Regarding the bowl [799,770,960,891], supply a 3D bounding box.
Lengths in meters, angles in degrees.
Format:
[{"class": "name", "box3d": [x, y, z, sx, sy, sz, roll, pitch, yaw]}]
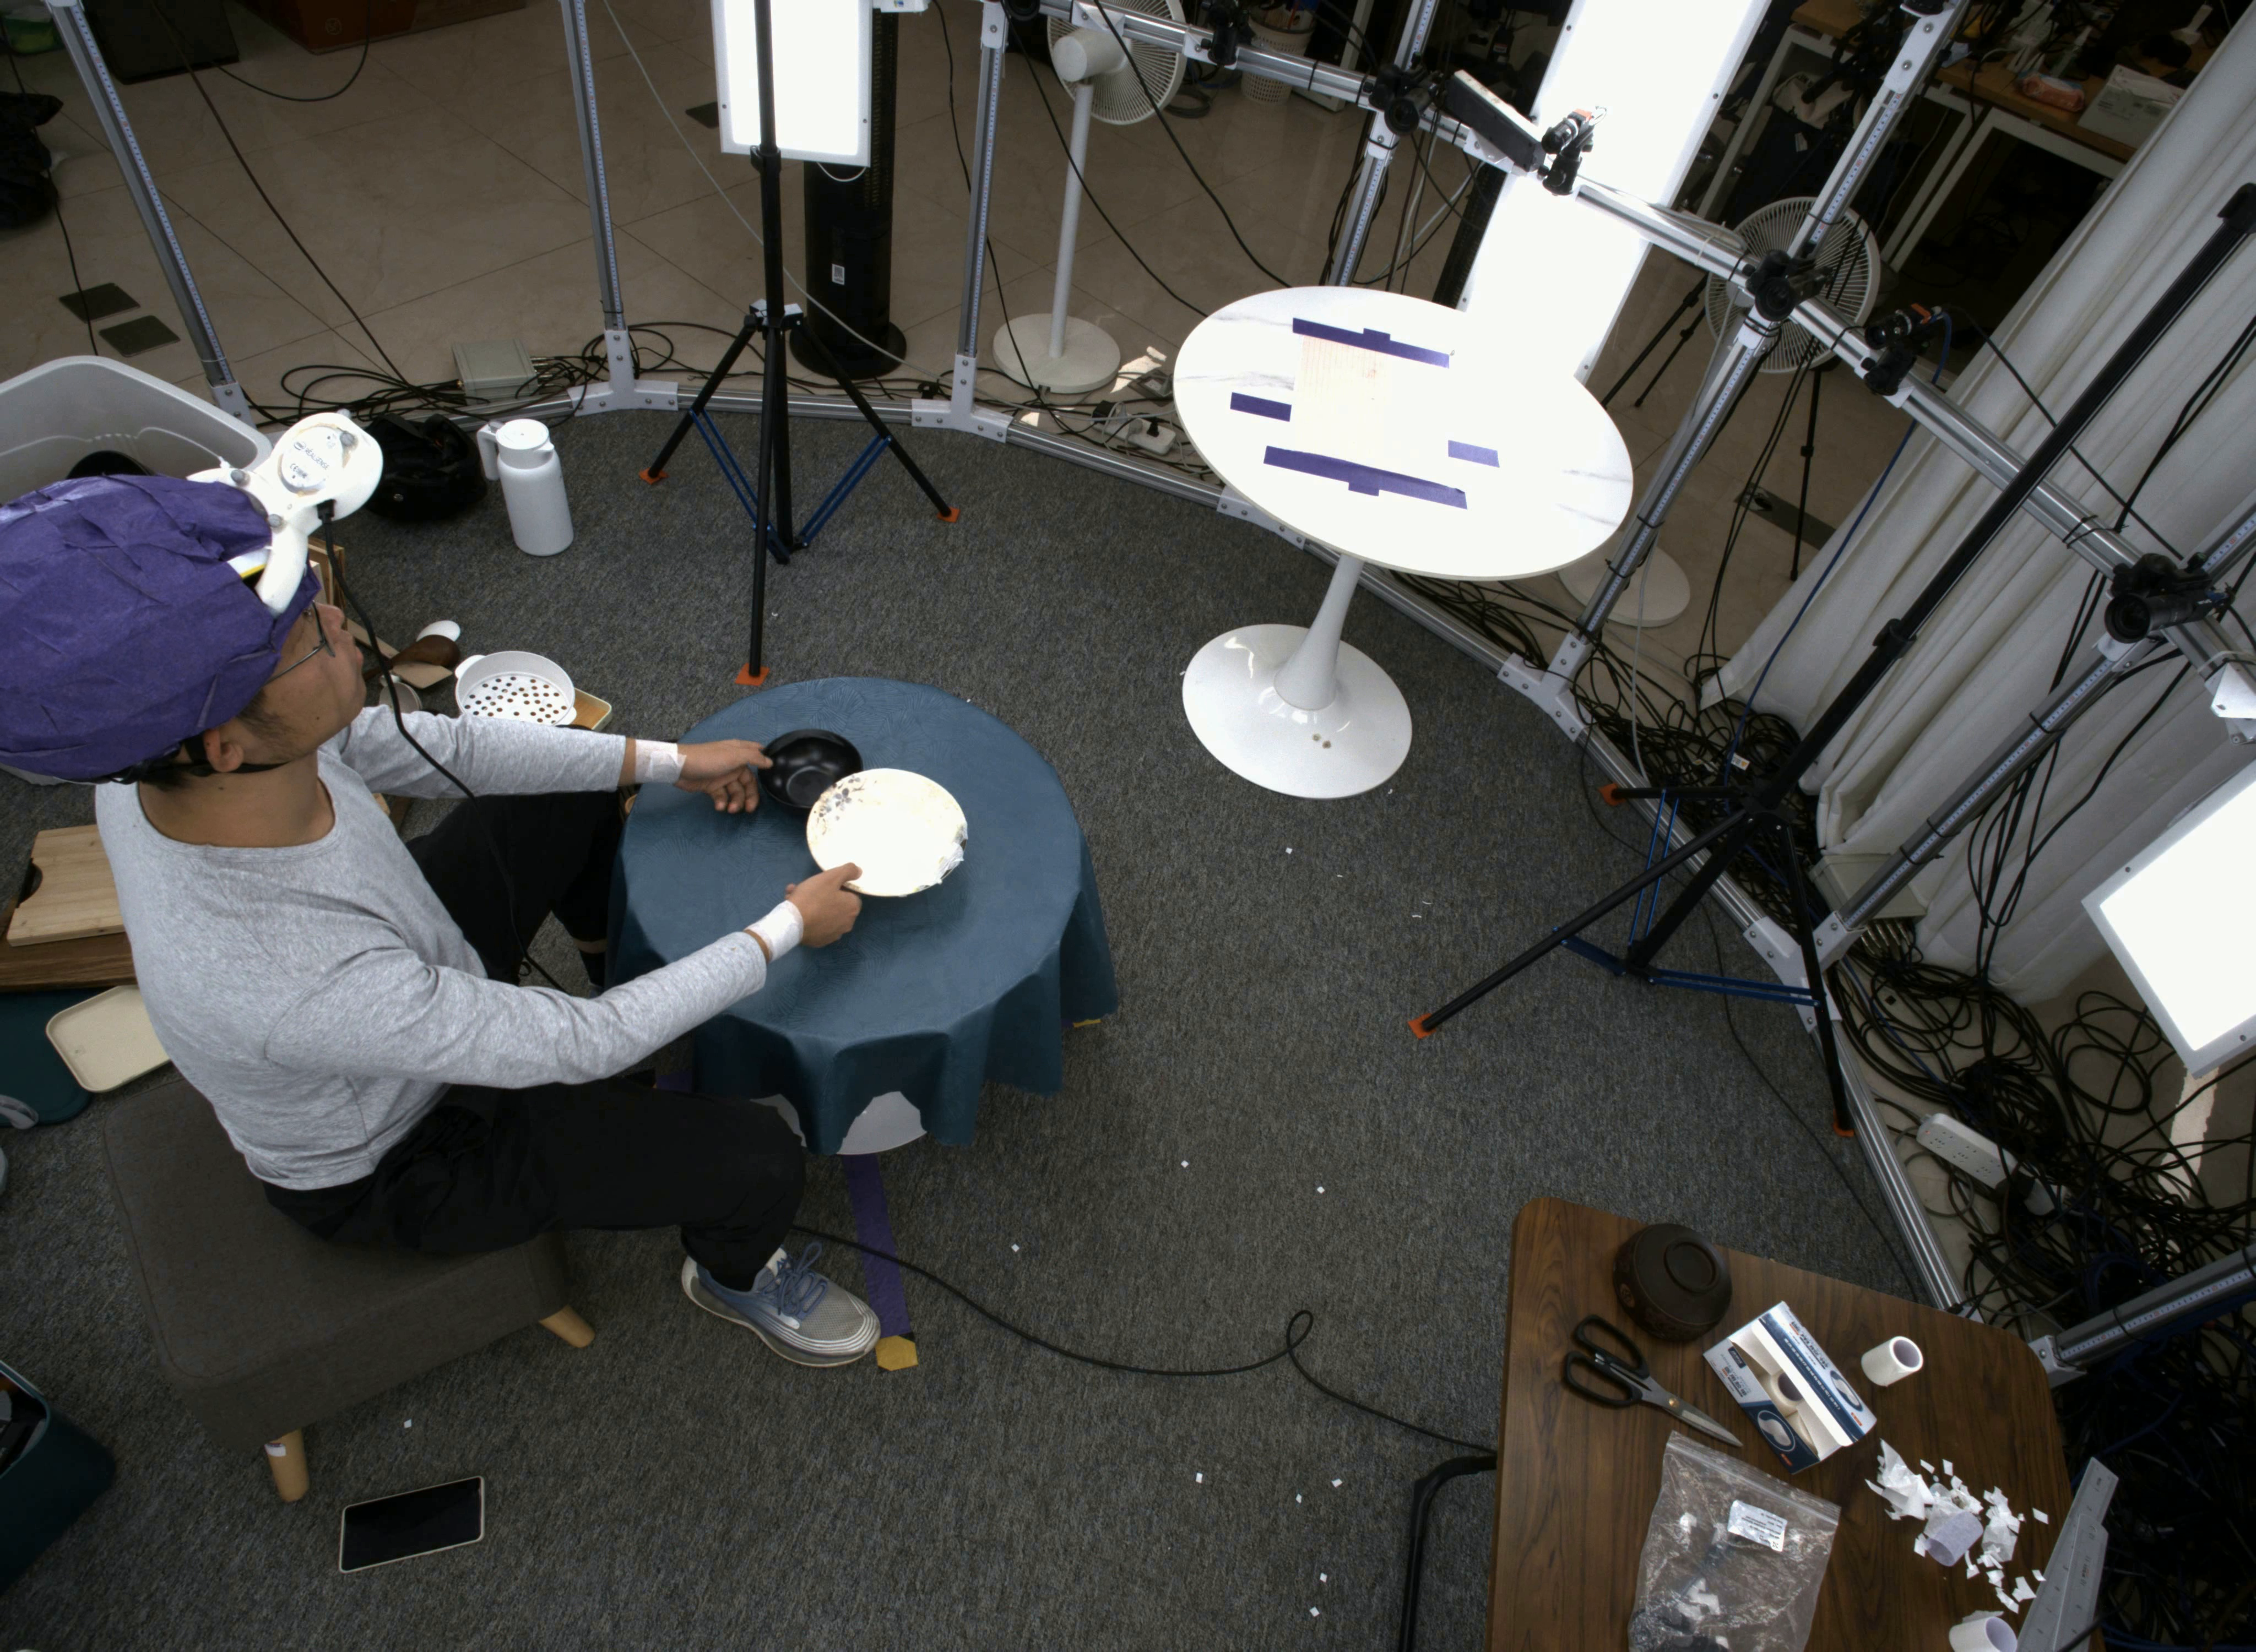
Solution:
[{"class": "bowl", "box3d": [-0.322, 0.024, 1.679, 0.204, 0.079, 0.200, 11, 46, -10]}]

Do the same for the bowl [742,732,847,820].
[{"class": "bowl", "box3d": [-0.447, -0.059, 1.746, 0.139, 0.051, 0.137, 4, 54, -4]}]
